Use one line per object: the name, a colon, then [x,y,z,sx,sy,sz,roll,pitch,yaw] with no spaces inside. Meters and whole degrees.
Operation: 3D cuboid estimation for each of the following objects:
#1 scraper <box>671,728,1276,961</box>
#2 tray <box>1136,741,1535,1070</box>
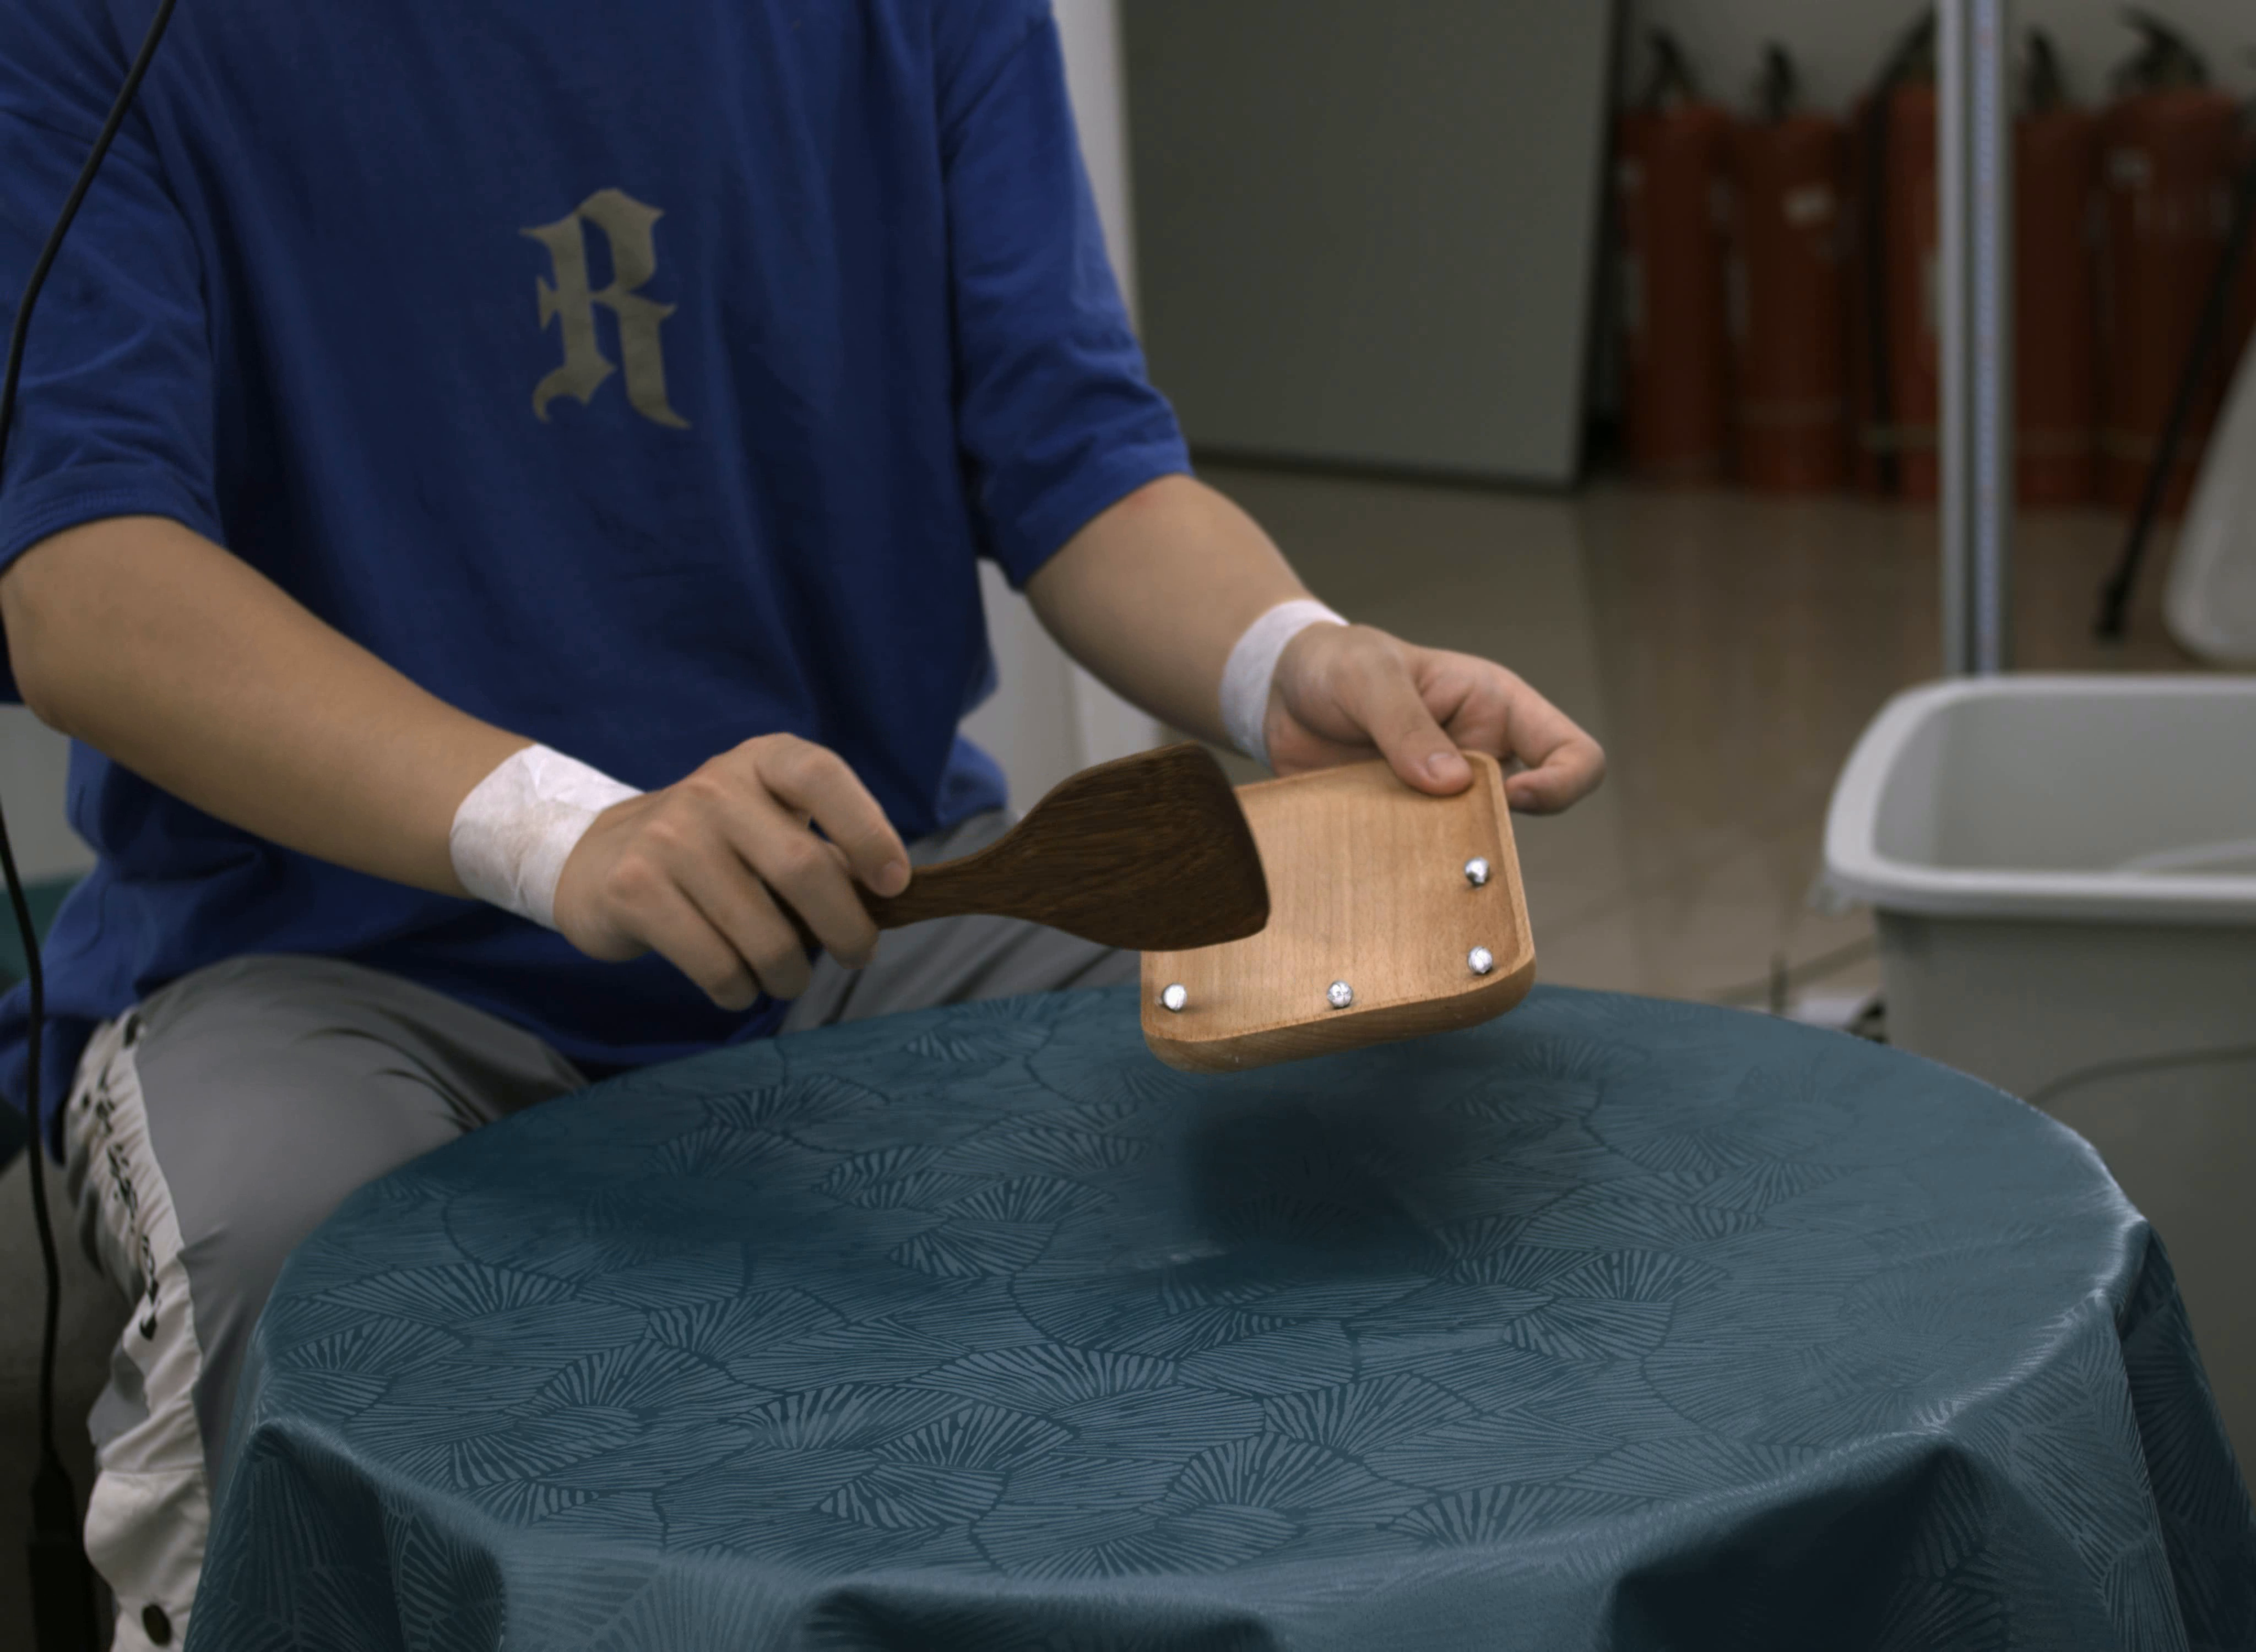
scraper: [-0.054,0.017,1.743,0.211,0.076,0.011,-10,27,25]
tray: [0.067,0.024,1.778,0.129,0.023,0.251,-9,17,5]
